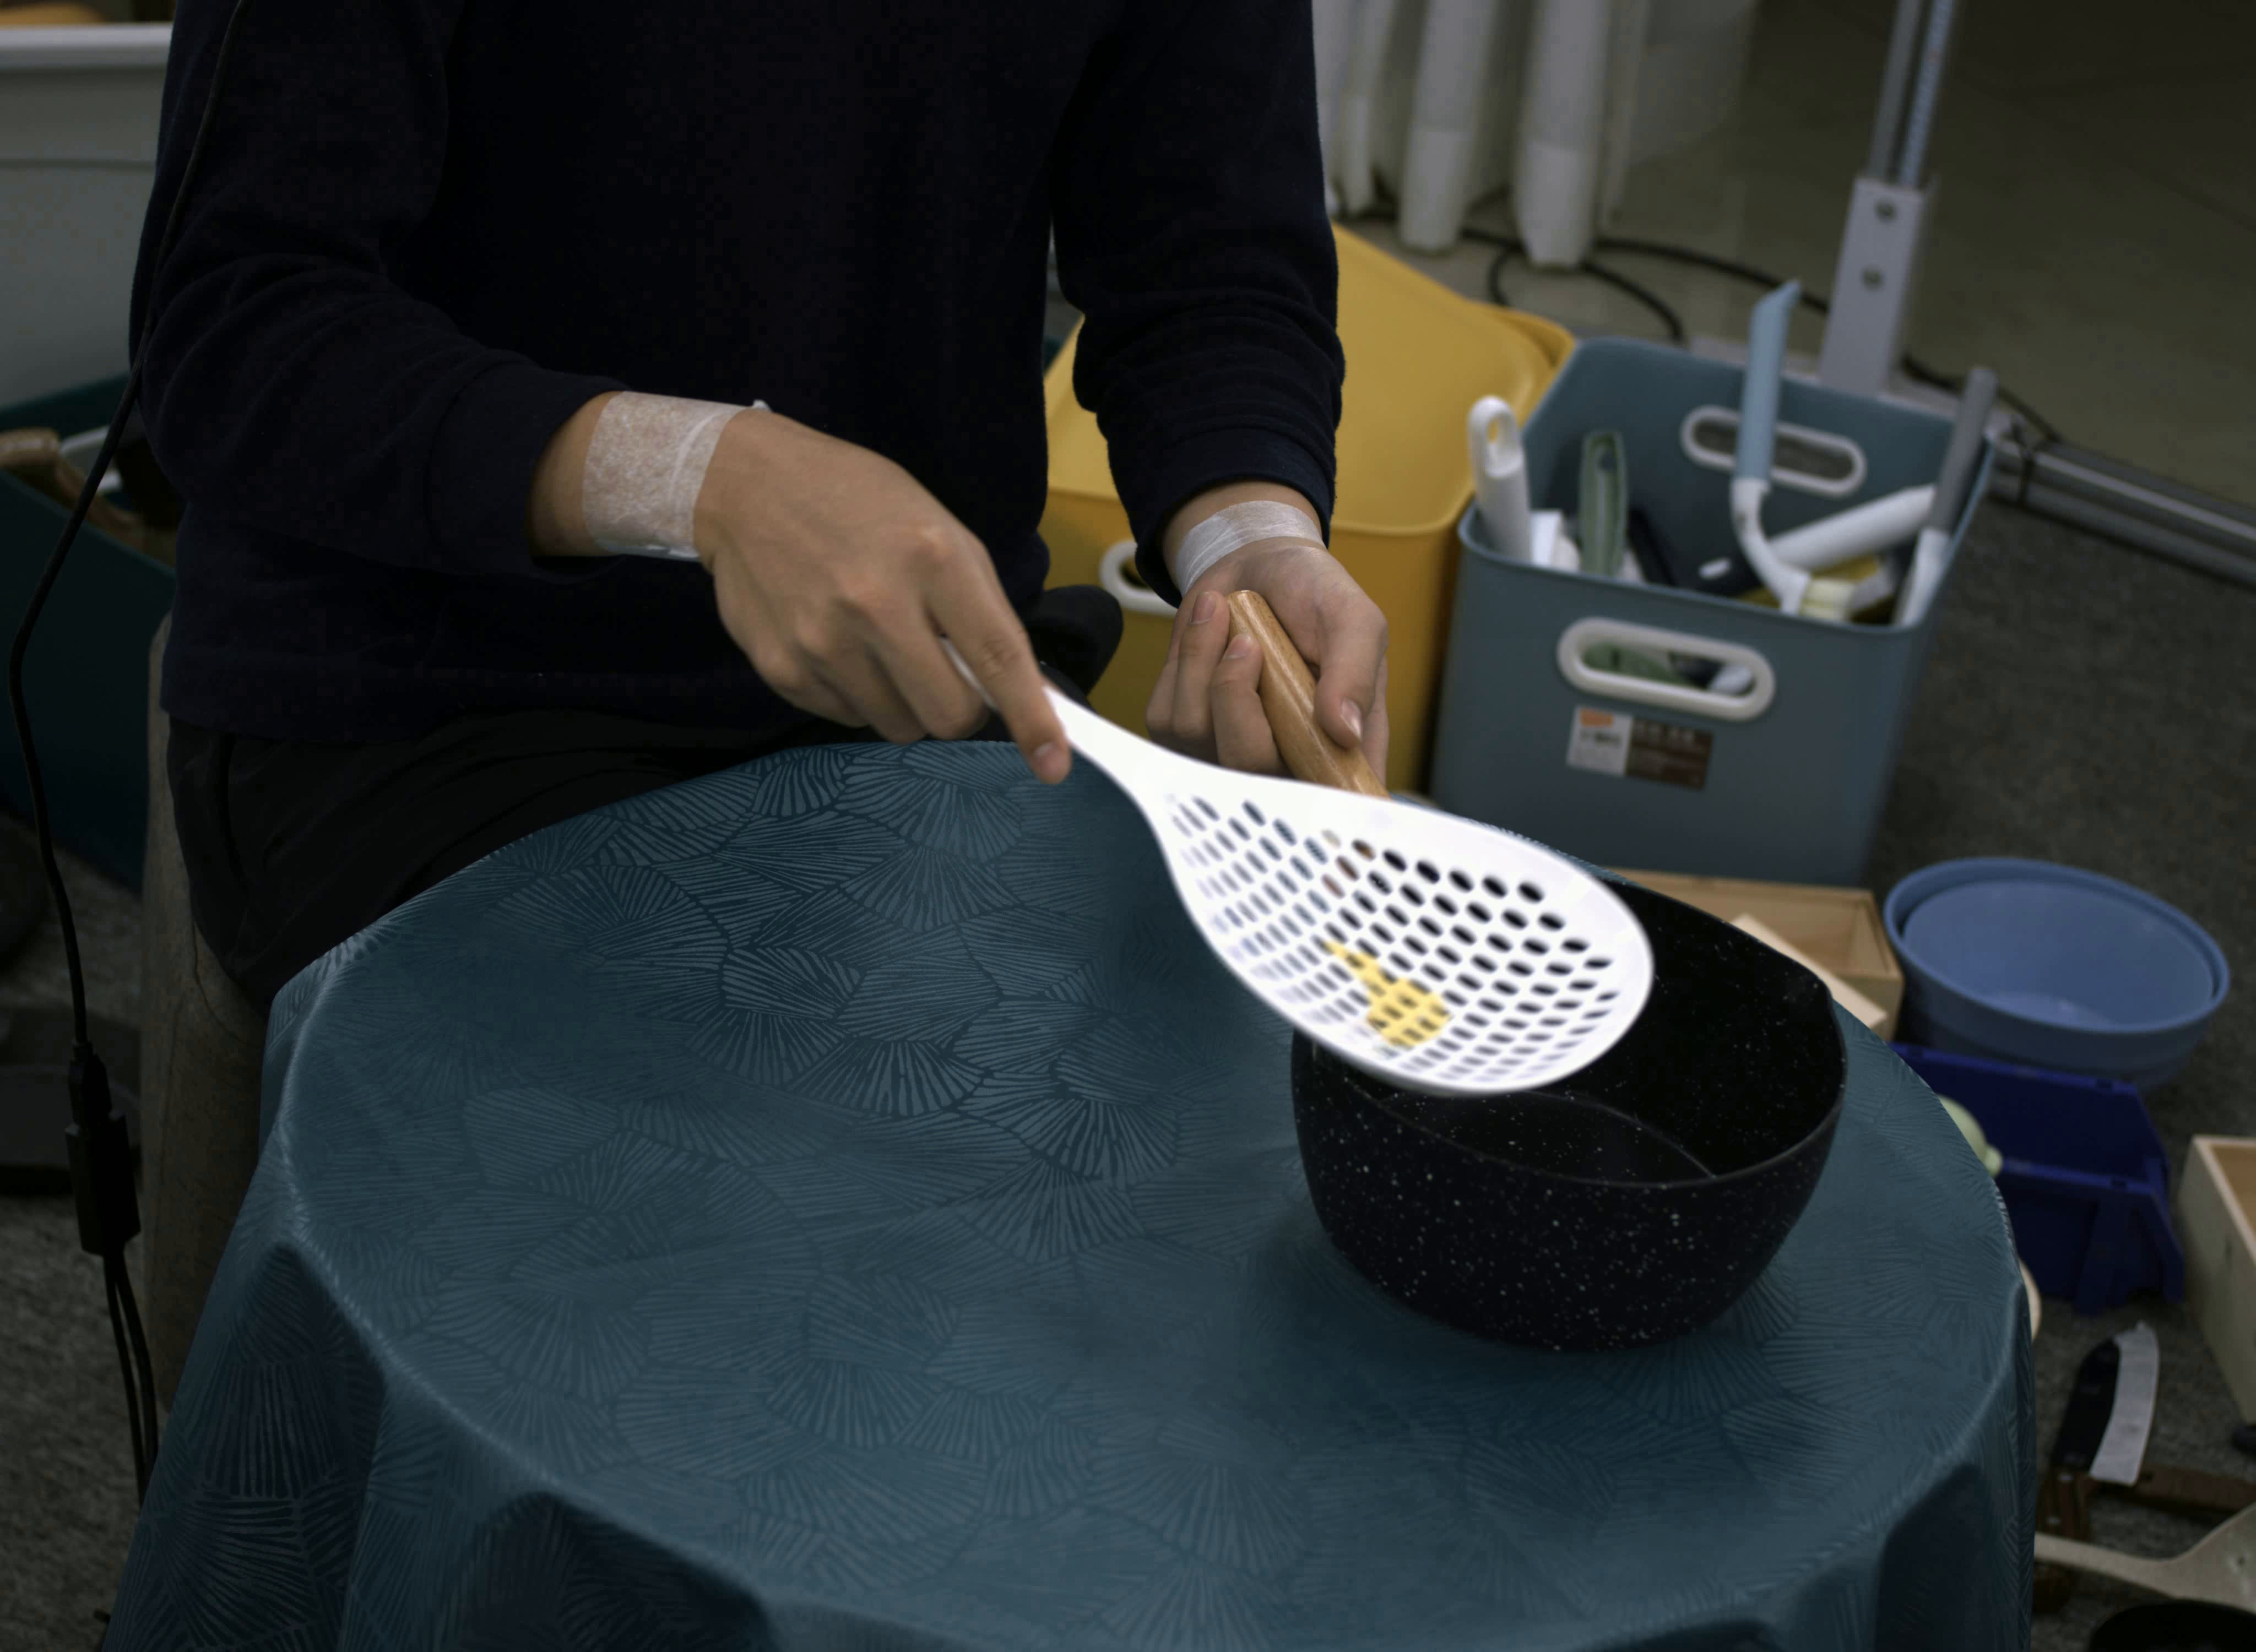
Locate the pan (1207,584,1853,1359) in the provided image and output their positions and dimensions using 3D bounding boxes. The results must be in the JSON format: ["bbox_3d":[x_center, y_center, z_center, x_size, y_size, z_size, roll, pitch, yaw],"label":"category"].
[{"bbox_3d":[0.107,0.047,1.830,0.206,0.108,0.346,-11,38,-27],"label":"pan"}]

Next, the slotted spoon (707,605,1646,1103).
[{"bbox_3d":[0.007,-0.004,1.732,0.349,0.050,0.136,33,43,21],"label":"slotted spoon"}]
